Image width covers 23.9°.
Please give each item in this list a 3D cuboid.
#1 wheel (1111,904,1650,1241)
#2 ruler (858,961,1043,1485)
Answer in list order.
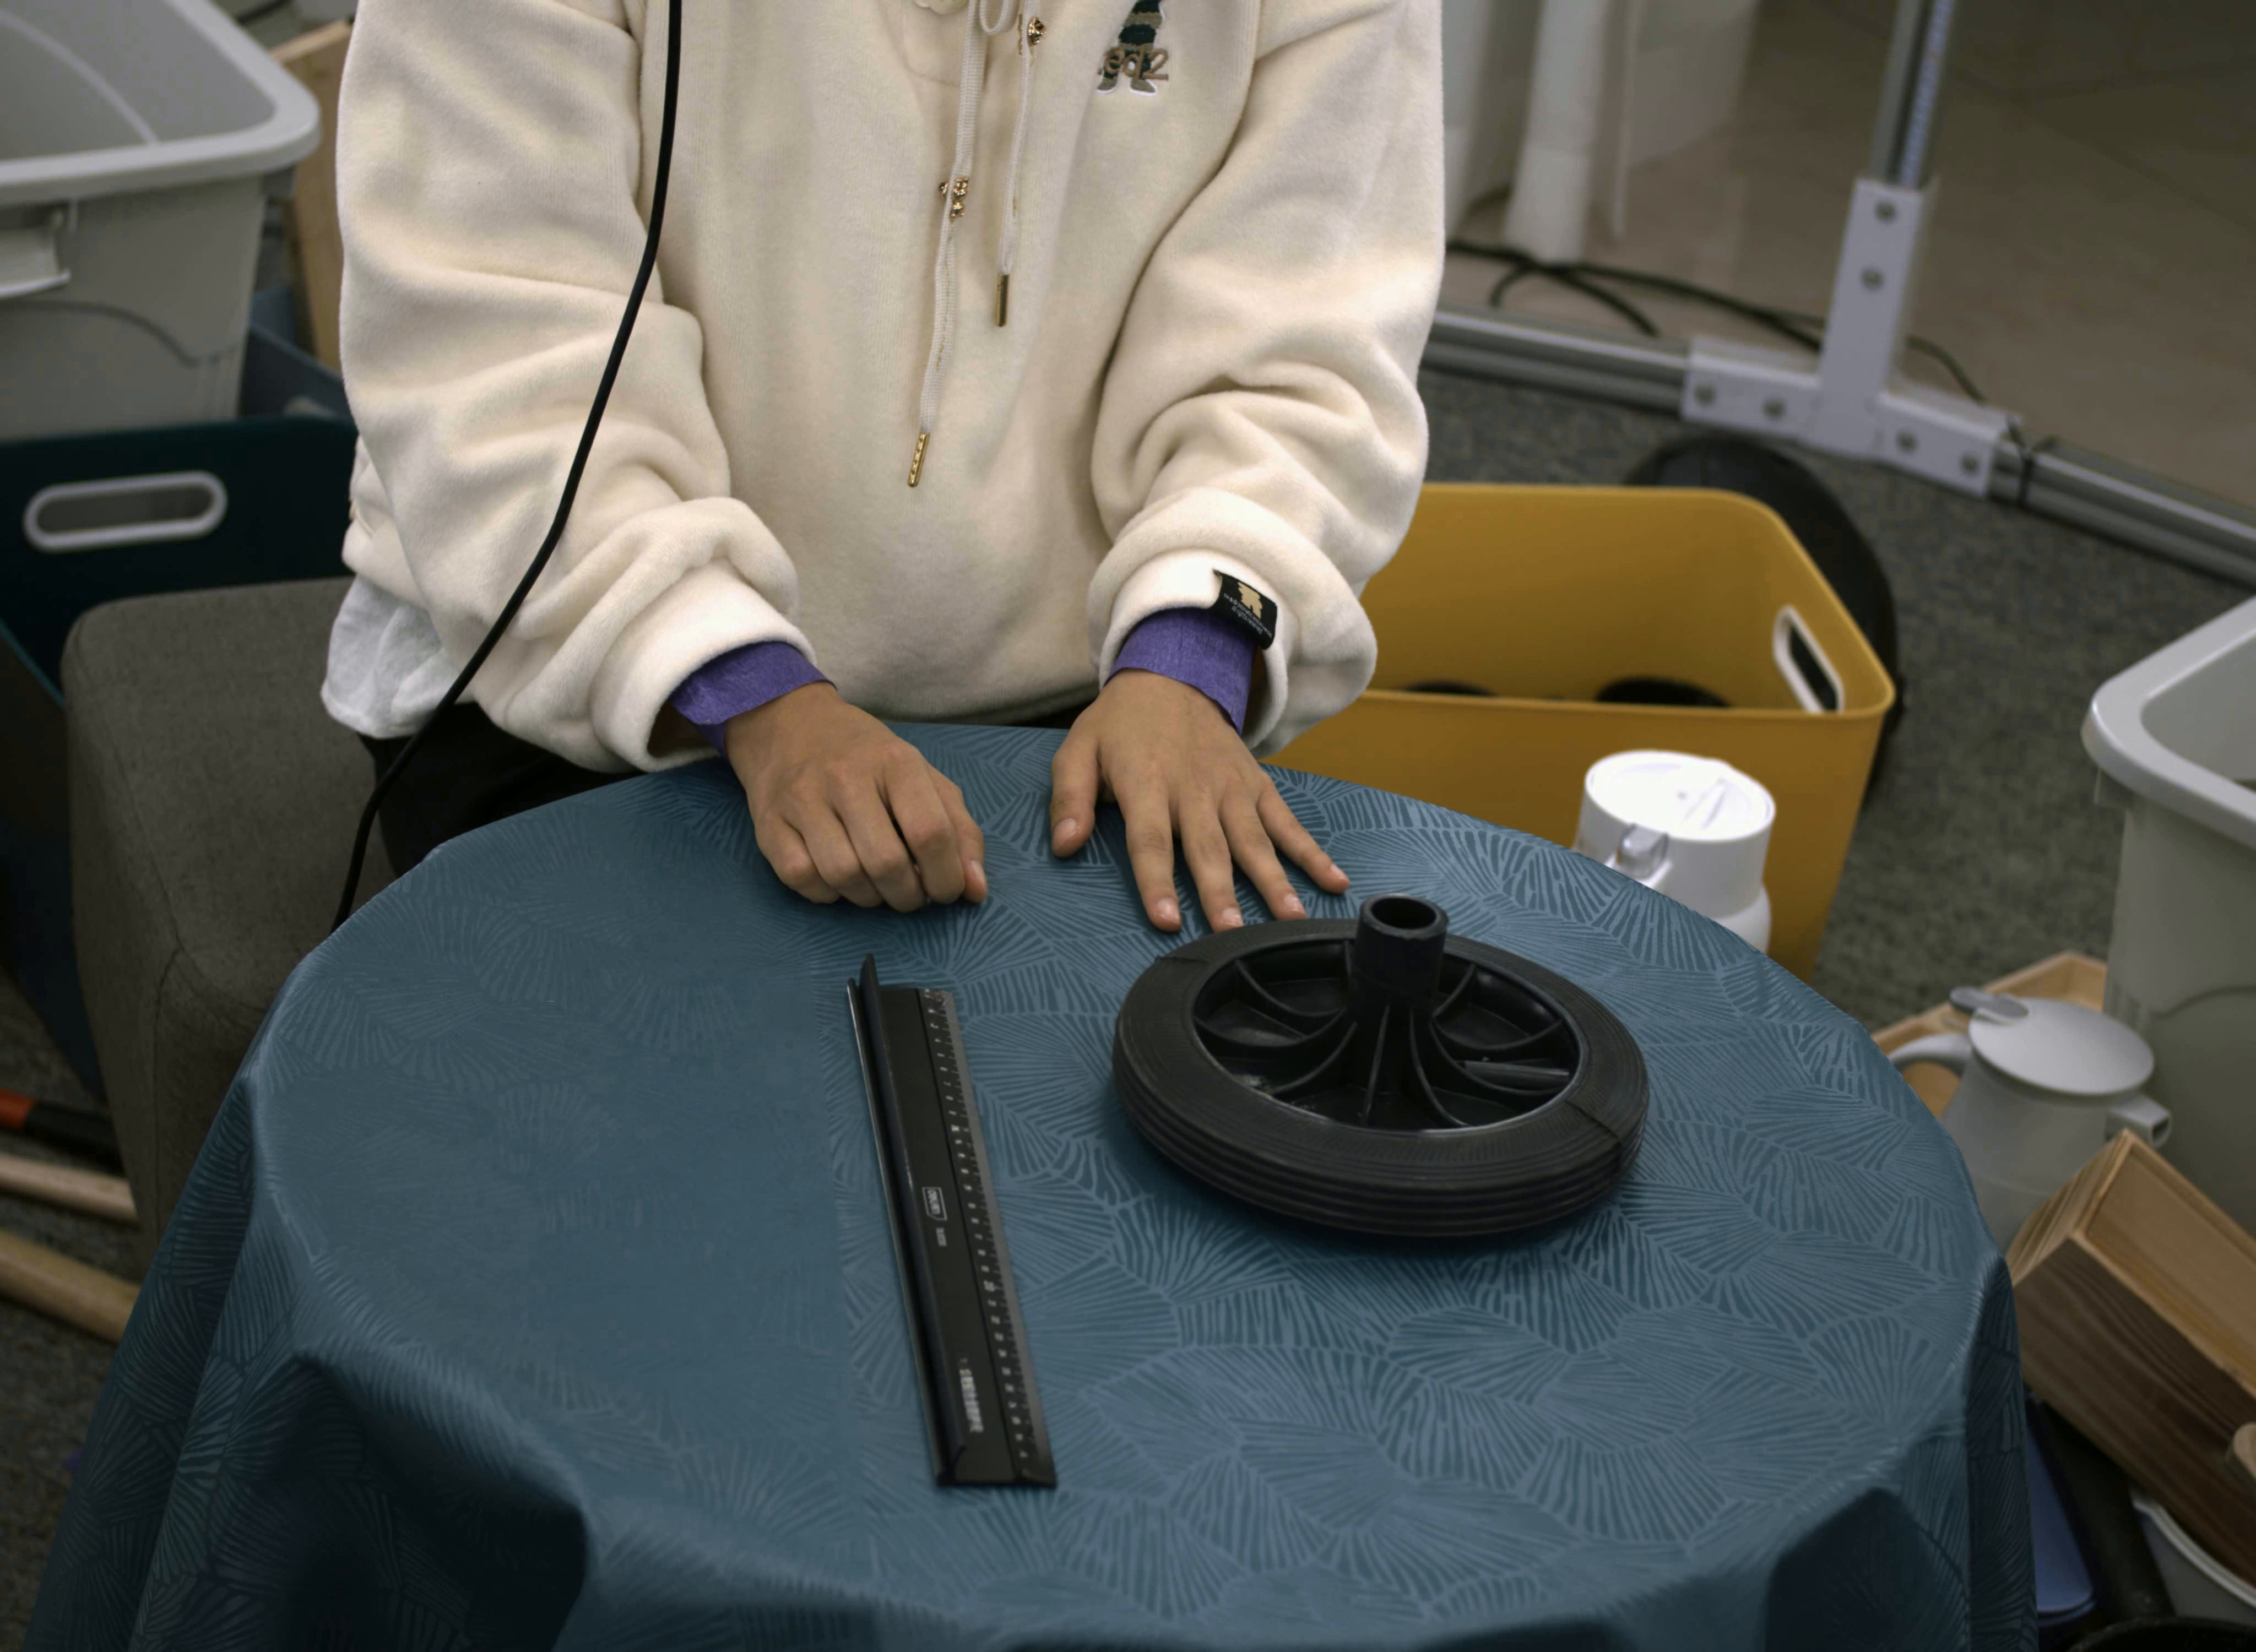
[{"bbox_3d":[0.091,0.069,1.846,0.188,0.079,0.189,-5,29,-22],"label":"wheel"},{"bbox_3d":[-0.060,0.125,1.768,0.039,0.017,0.315,6,26,-10],"label":"ruler"}]
